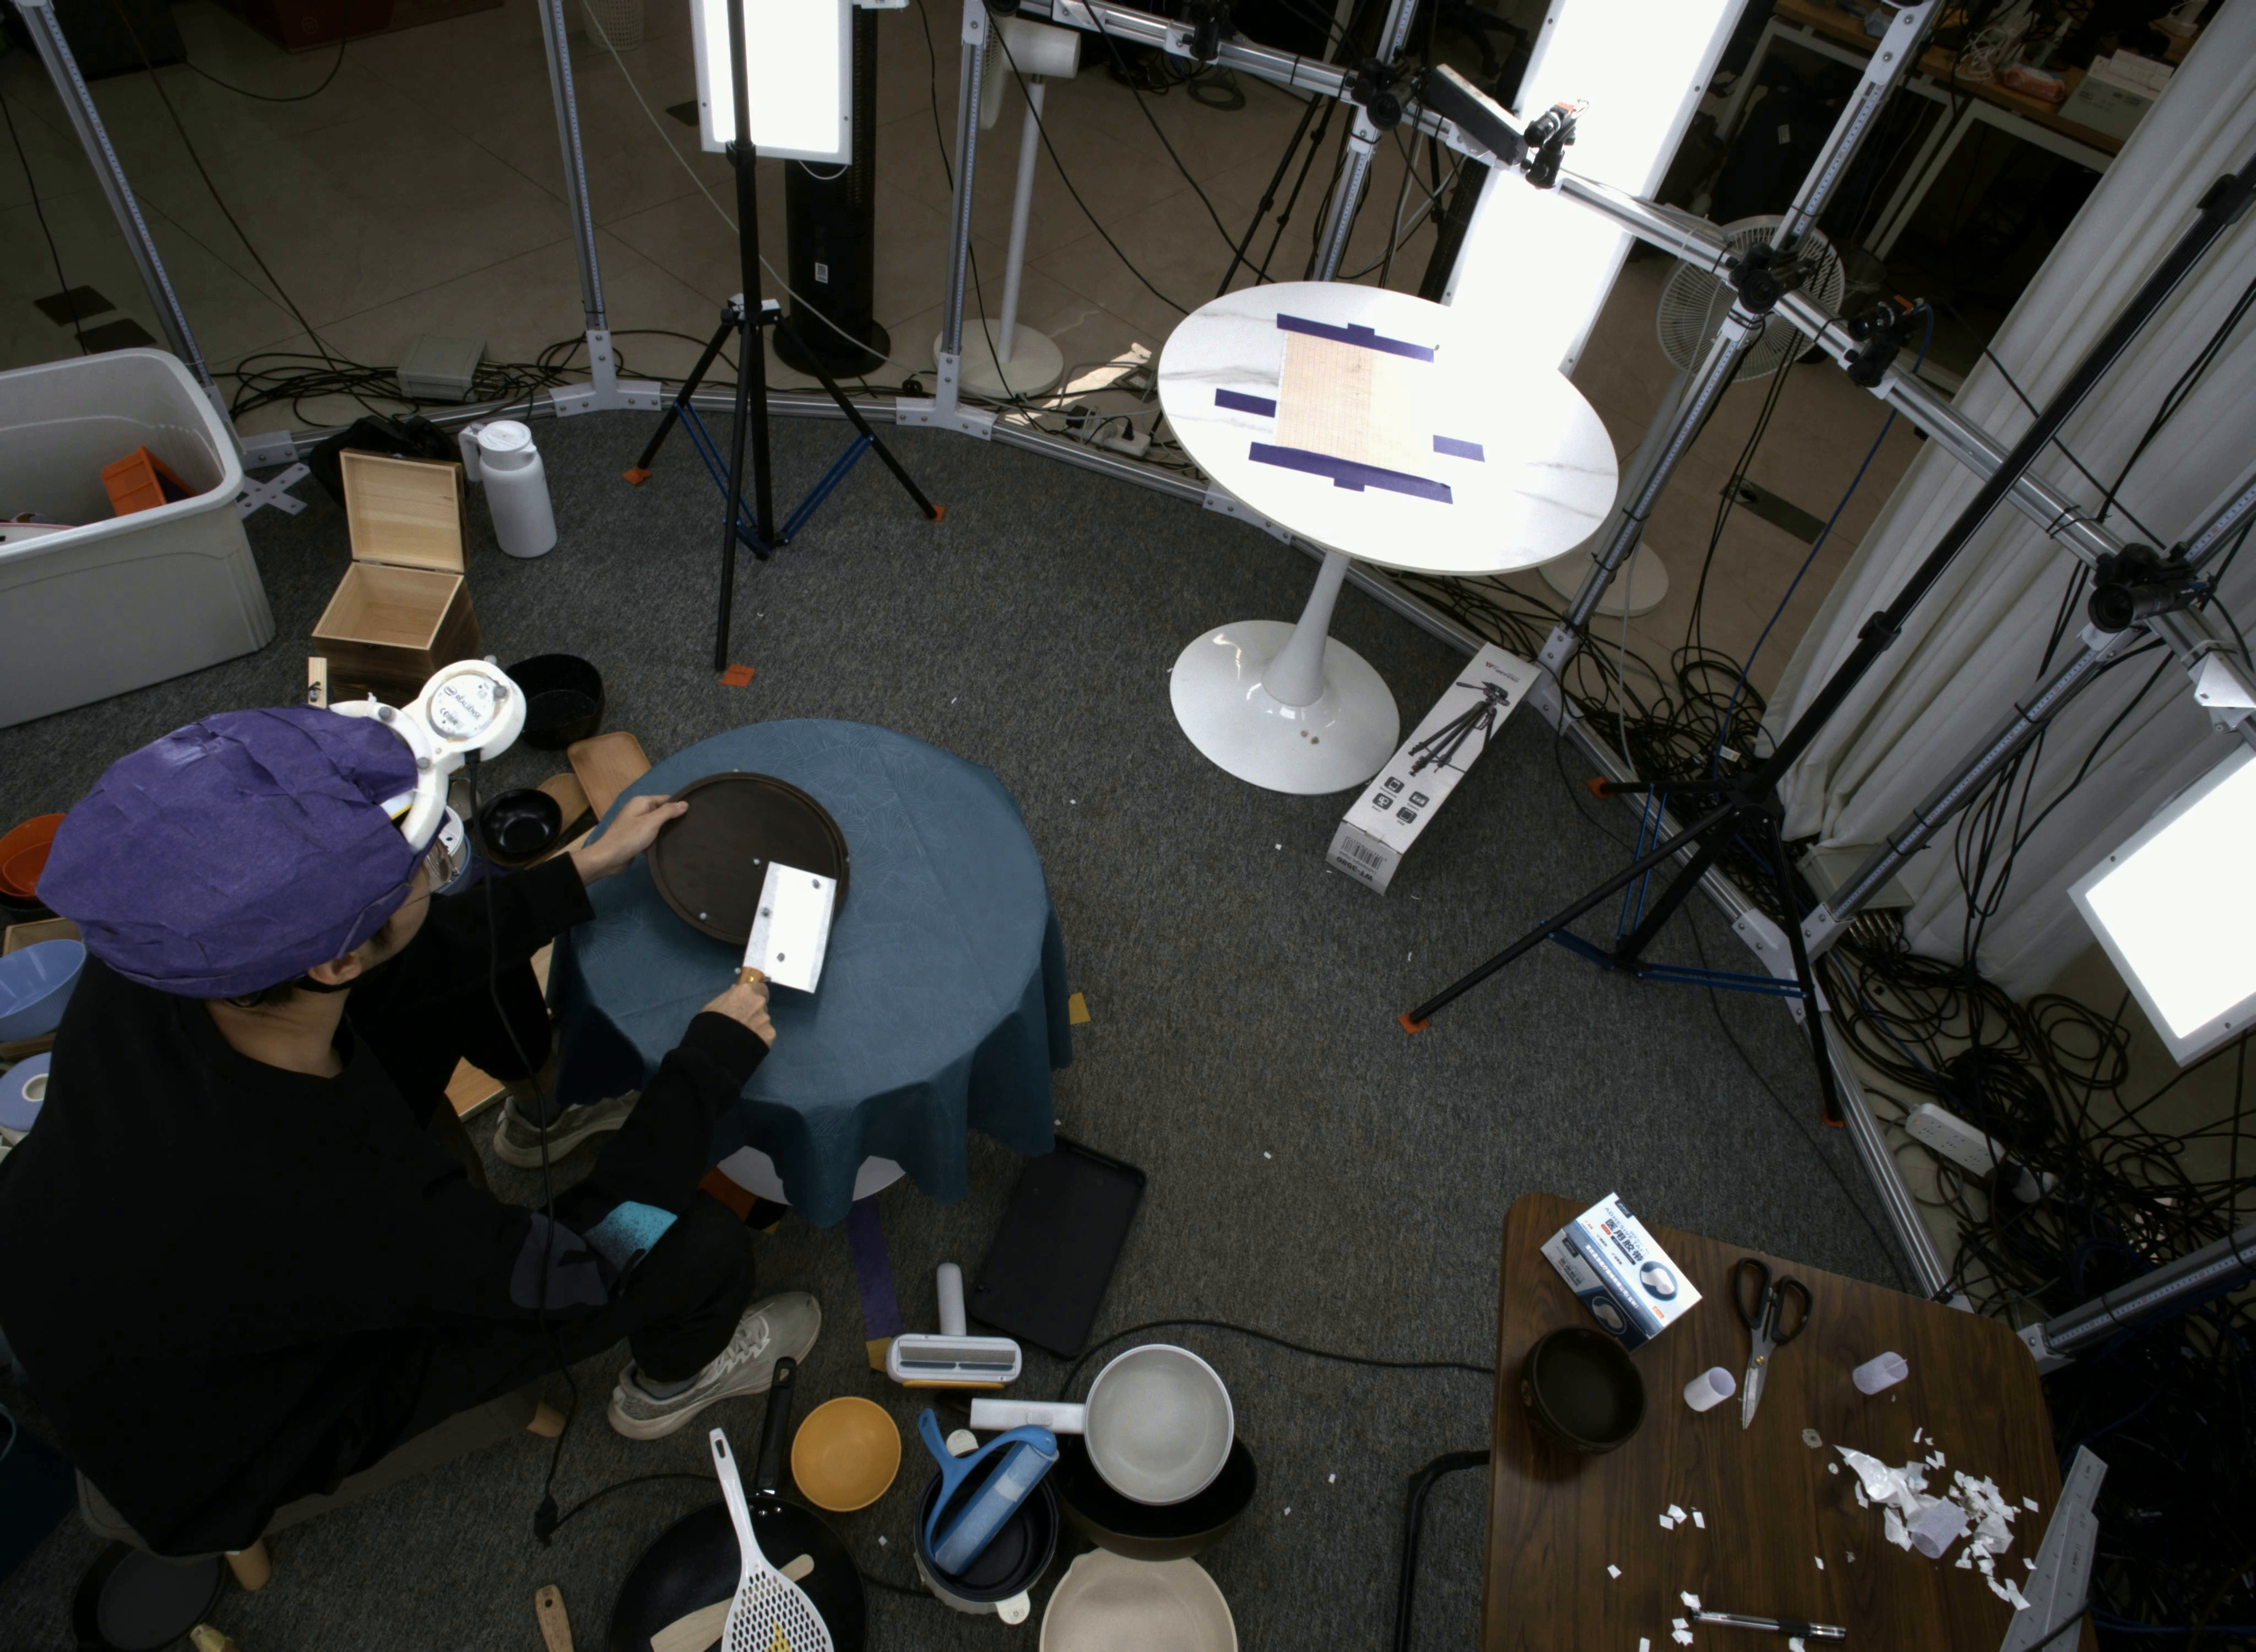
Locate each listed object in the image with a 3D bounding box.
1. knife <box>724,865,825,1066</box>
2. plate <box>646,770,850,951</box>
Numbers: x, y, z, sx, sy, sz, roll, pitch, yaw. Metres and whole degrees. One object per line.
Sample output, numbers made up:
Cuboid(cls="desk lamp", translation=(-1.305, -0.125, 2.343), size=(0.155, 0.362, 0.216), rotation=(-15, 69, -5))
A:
Cuboid(cls="knife", translation=(-0.412, 0.159, 1.535), size=(0.094, 0.021, 0.299), rotation=(18, 41, -18))
Cuboid(cls="plate", translation=(-0.474, 0.041, 1.617), size=(0.259, 0.029, 0.251), rotation=(18, 53, -23))
